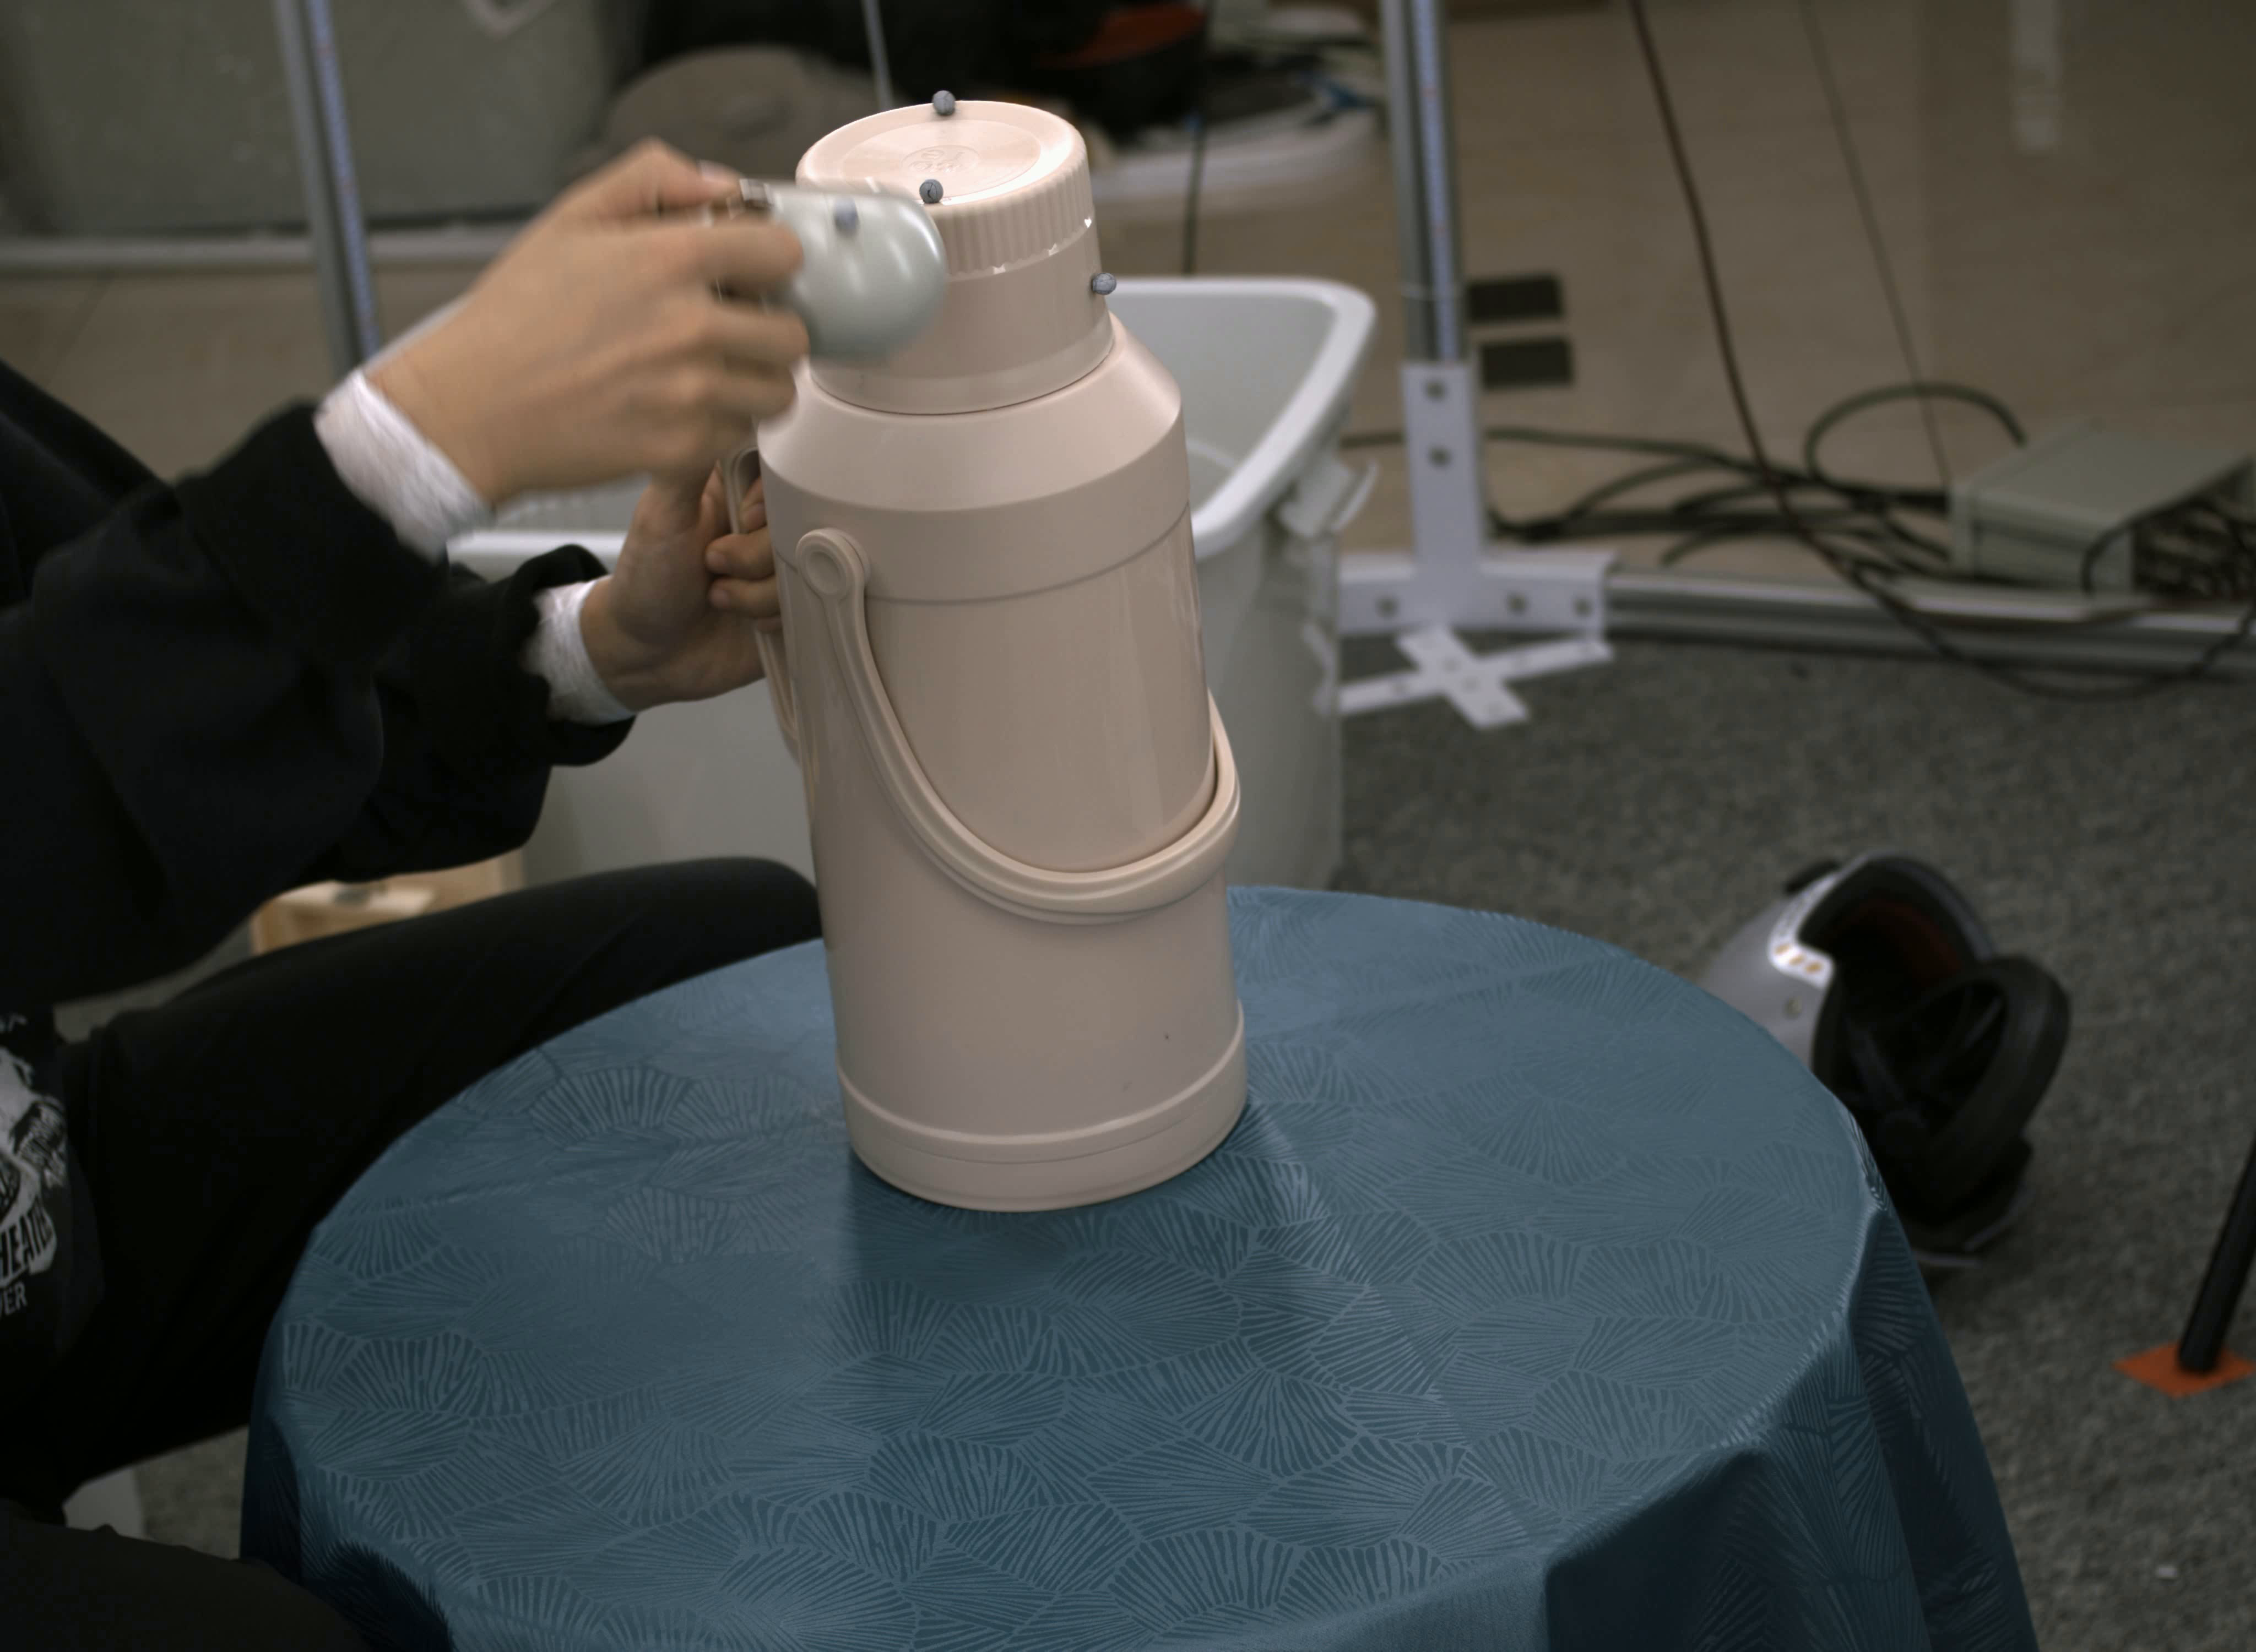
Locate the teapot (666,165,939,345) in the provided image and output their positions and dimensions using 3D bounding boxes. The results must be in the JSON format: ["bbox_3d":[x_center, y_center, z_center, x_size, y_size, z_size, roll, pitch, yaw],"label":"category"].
[{"bbox_3d":[-0.113,-0.192,1.888,0.091,0.060,0.127,8,9,20],"label":"teapot"}]

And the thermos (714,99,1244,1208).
[{"bbox_3d":[-0.060,-0.069,2.119,0.205,0.414,0.173,16,38,32],"label":"thermos"}]
